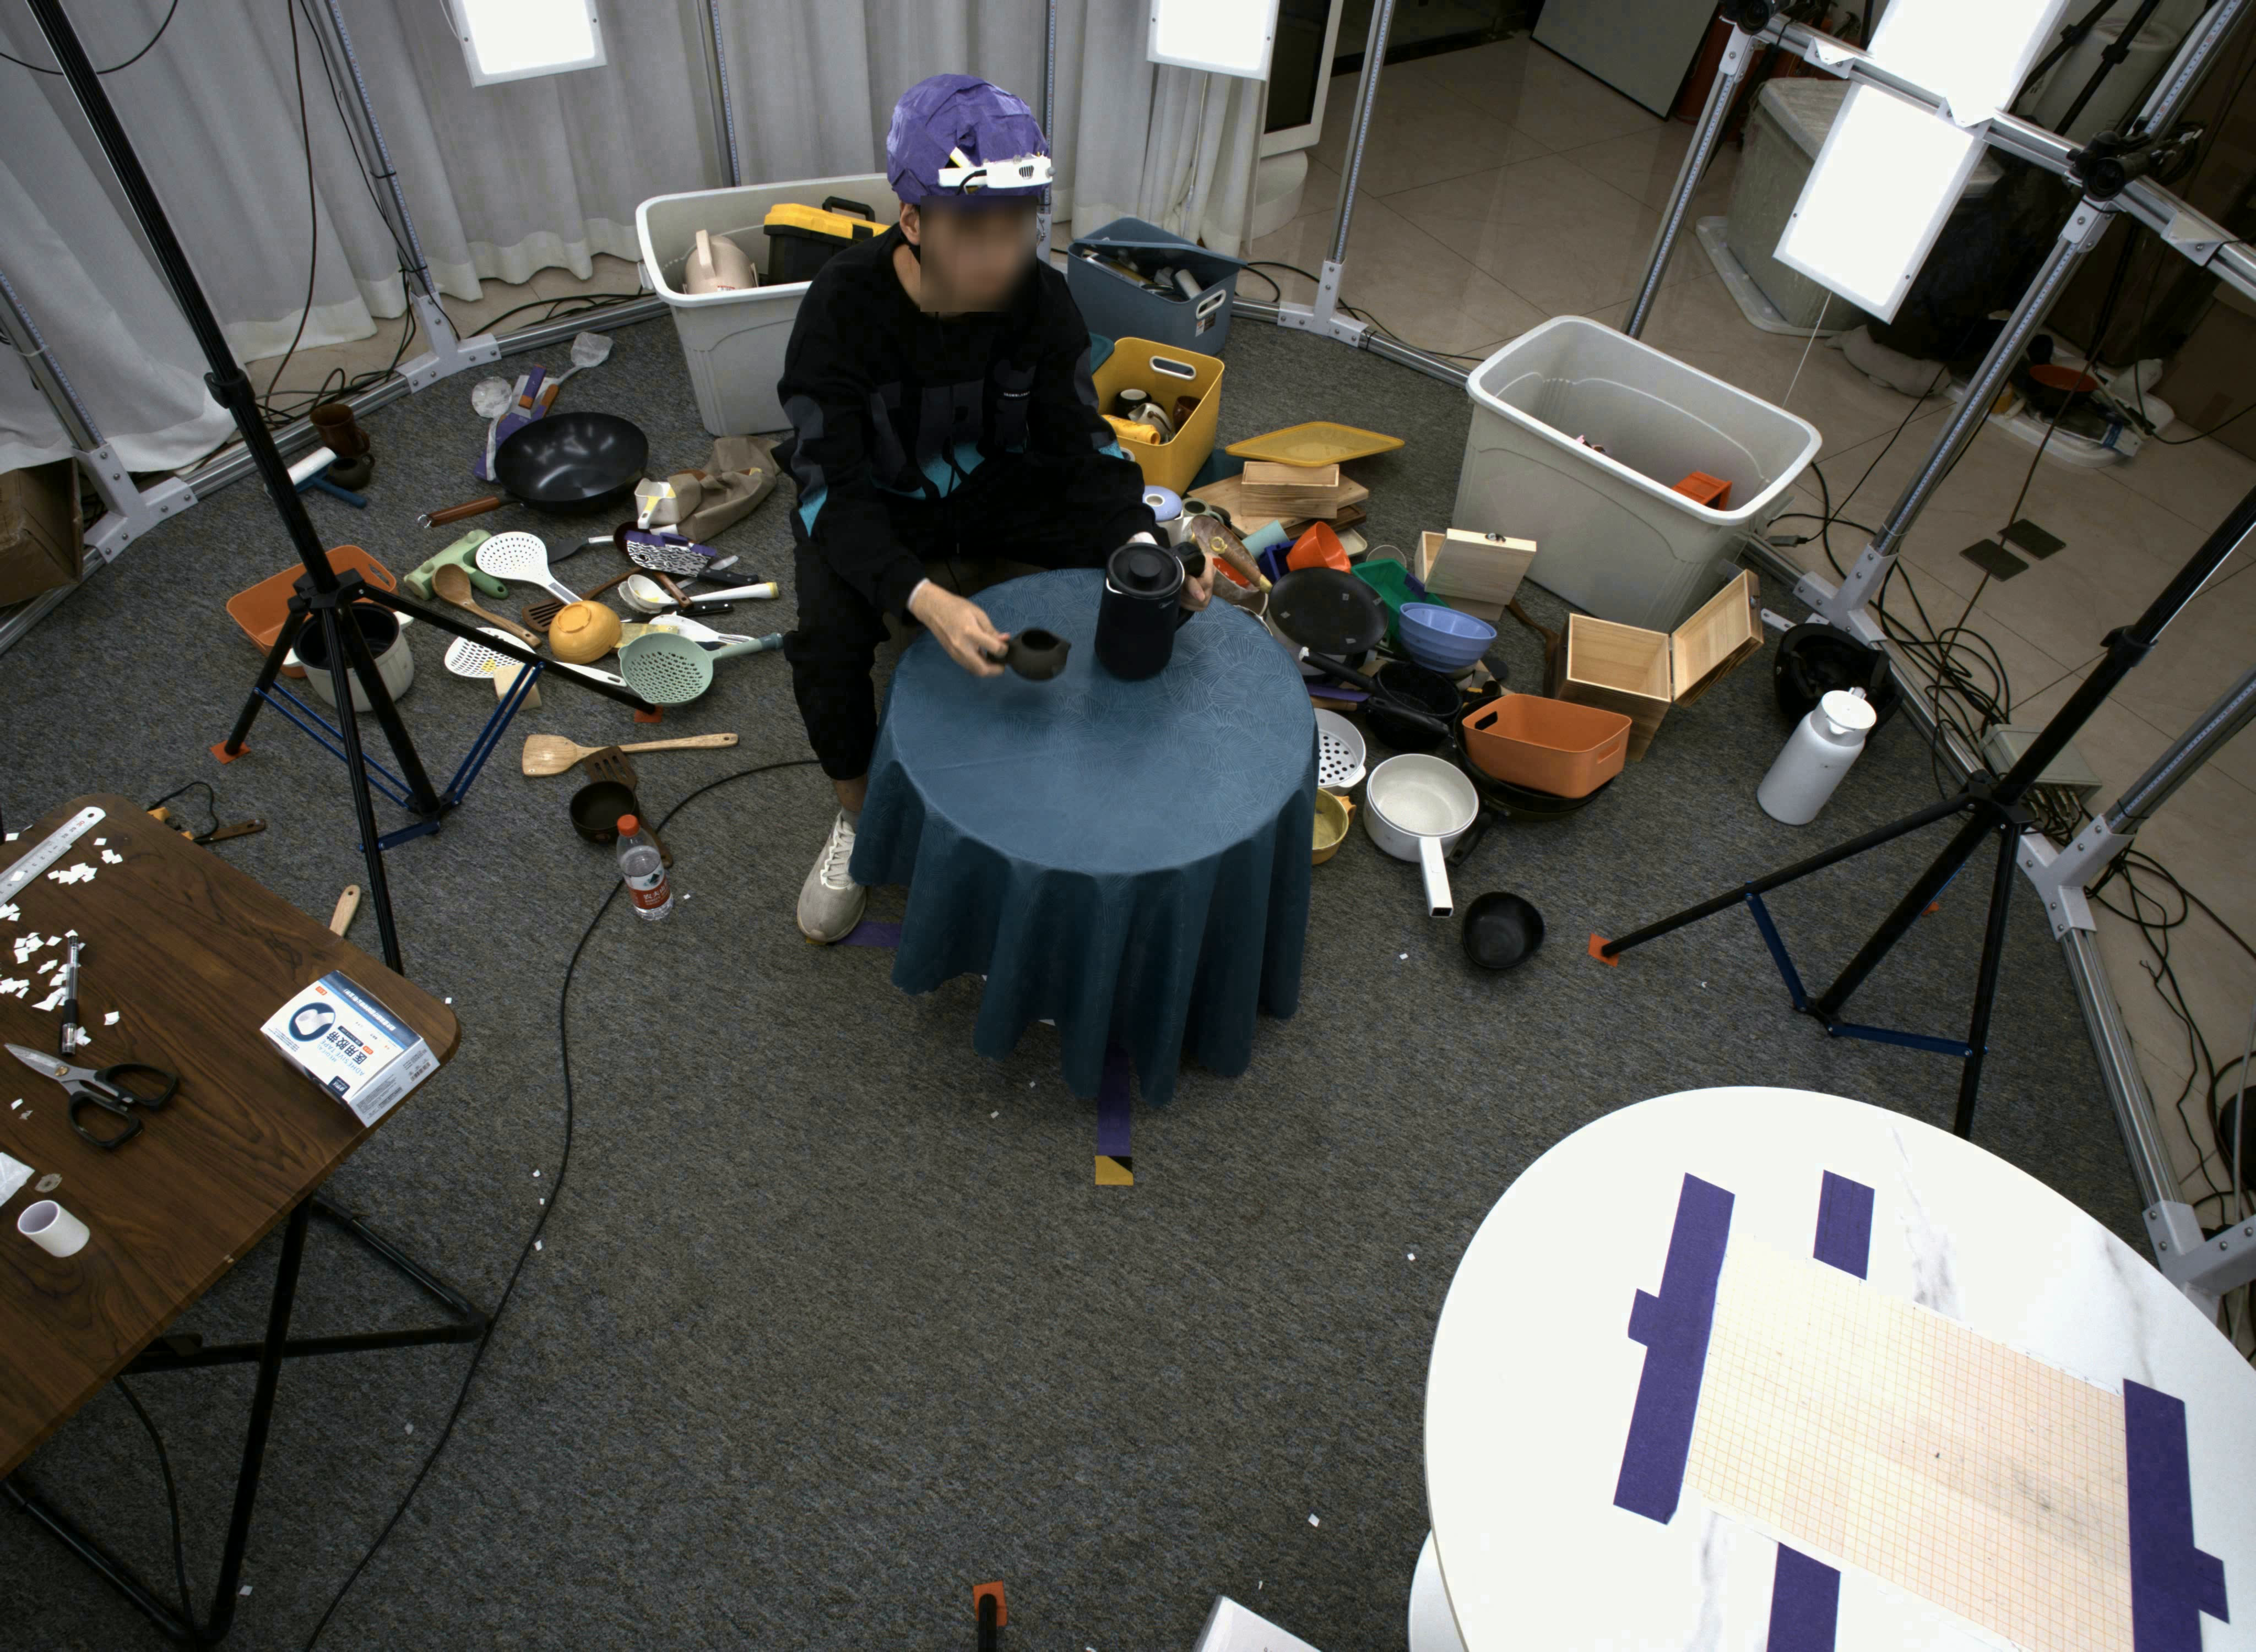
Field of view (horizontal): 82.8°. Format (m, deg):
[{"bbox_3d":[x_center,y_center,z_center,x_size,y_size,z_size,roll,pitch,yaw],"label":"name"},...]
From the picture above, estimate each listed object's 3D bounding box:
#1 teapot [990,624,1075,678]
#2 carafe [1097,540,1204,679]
[{"bbox_3d":[-0.132,-0.243,1.765,0.114,0.052,0.085,5,43,-11],"label":"teapot"},{"bbox_3d":[0.033,-0.319,1.816,0.173,0.169,0.116,-33,62,-24],"label":"carafe"}]
